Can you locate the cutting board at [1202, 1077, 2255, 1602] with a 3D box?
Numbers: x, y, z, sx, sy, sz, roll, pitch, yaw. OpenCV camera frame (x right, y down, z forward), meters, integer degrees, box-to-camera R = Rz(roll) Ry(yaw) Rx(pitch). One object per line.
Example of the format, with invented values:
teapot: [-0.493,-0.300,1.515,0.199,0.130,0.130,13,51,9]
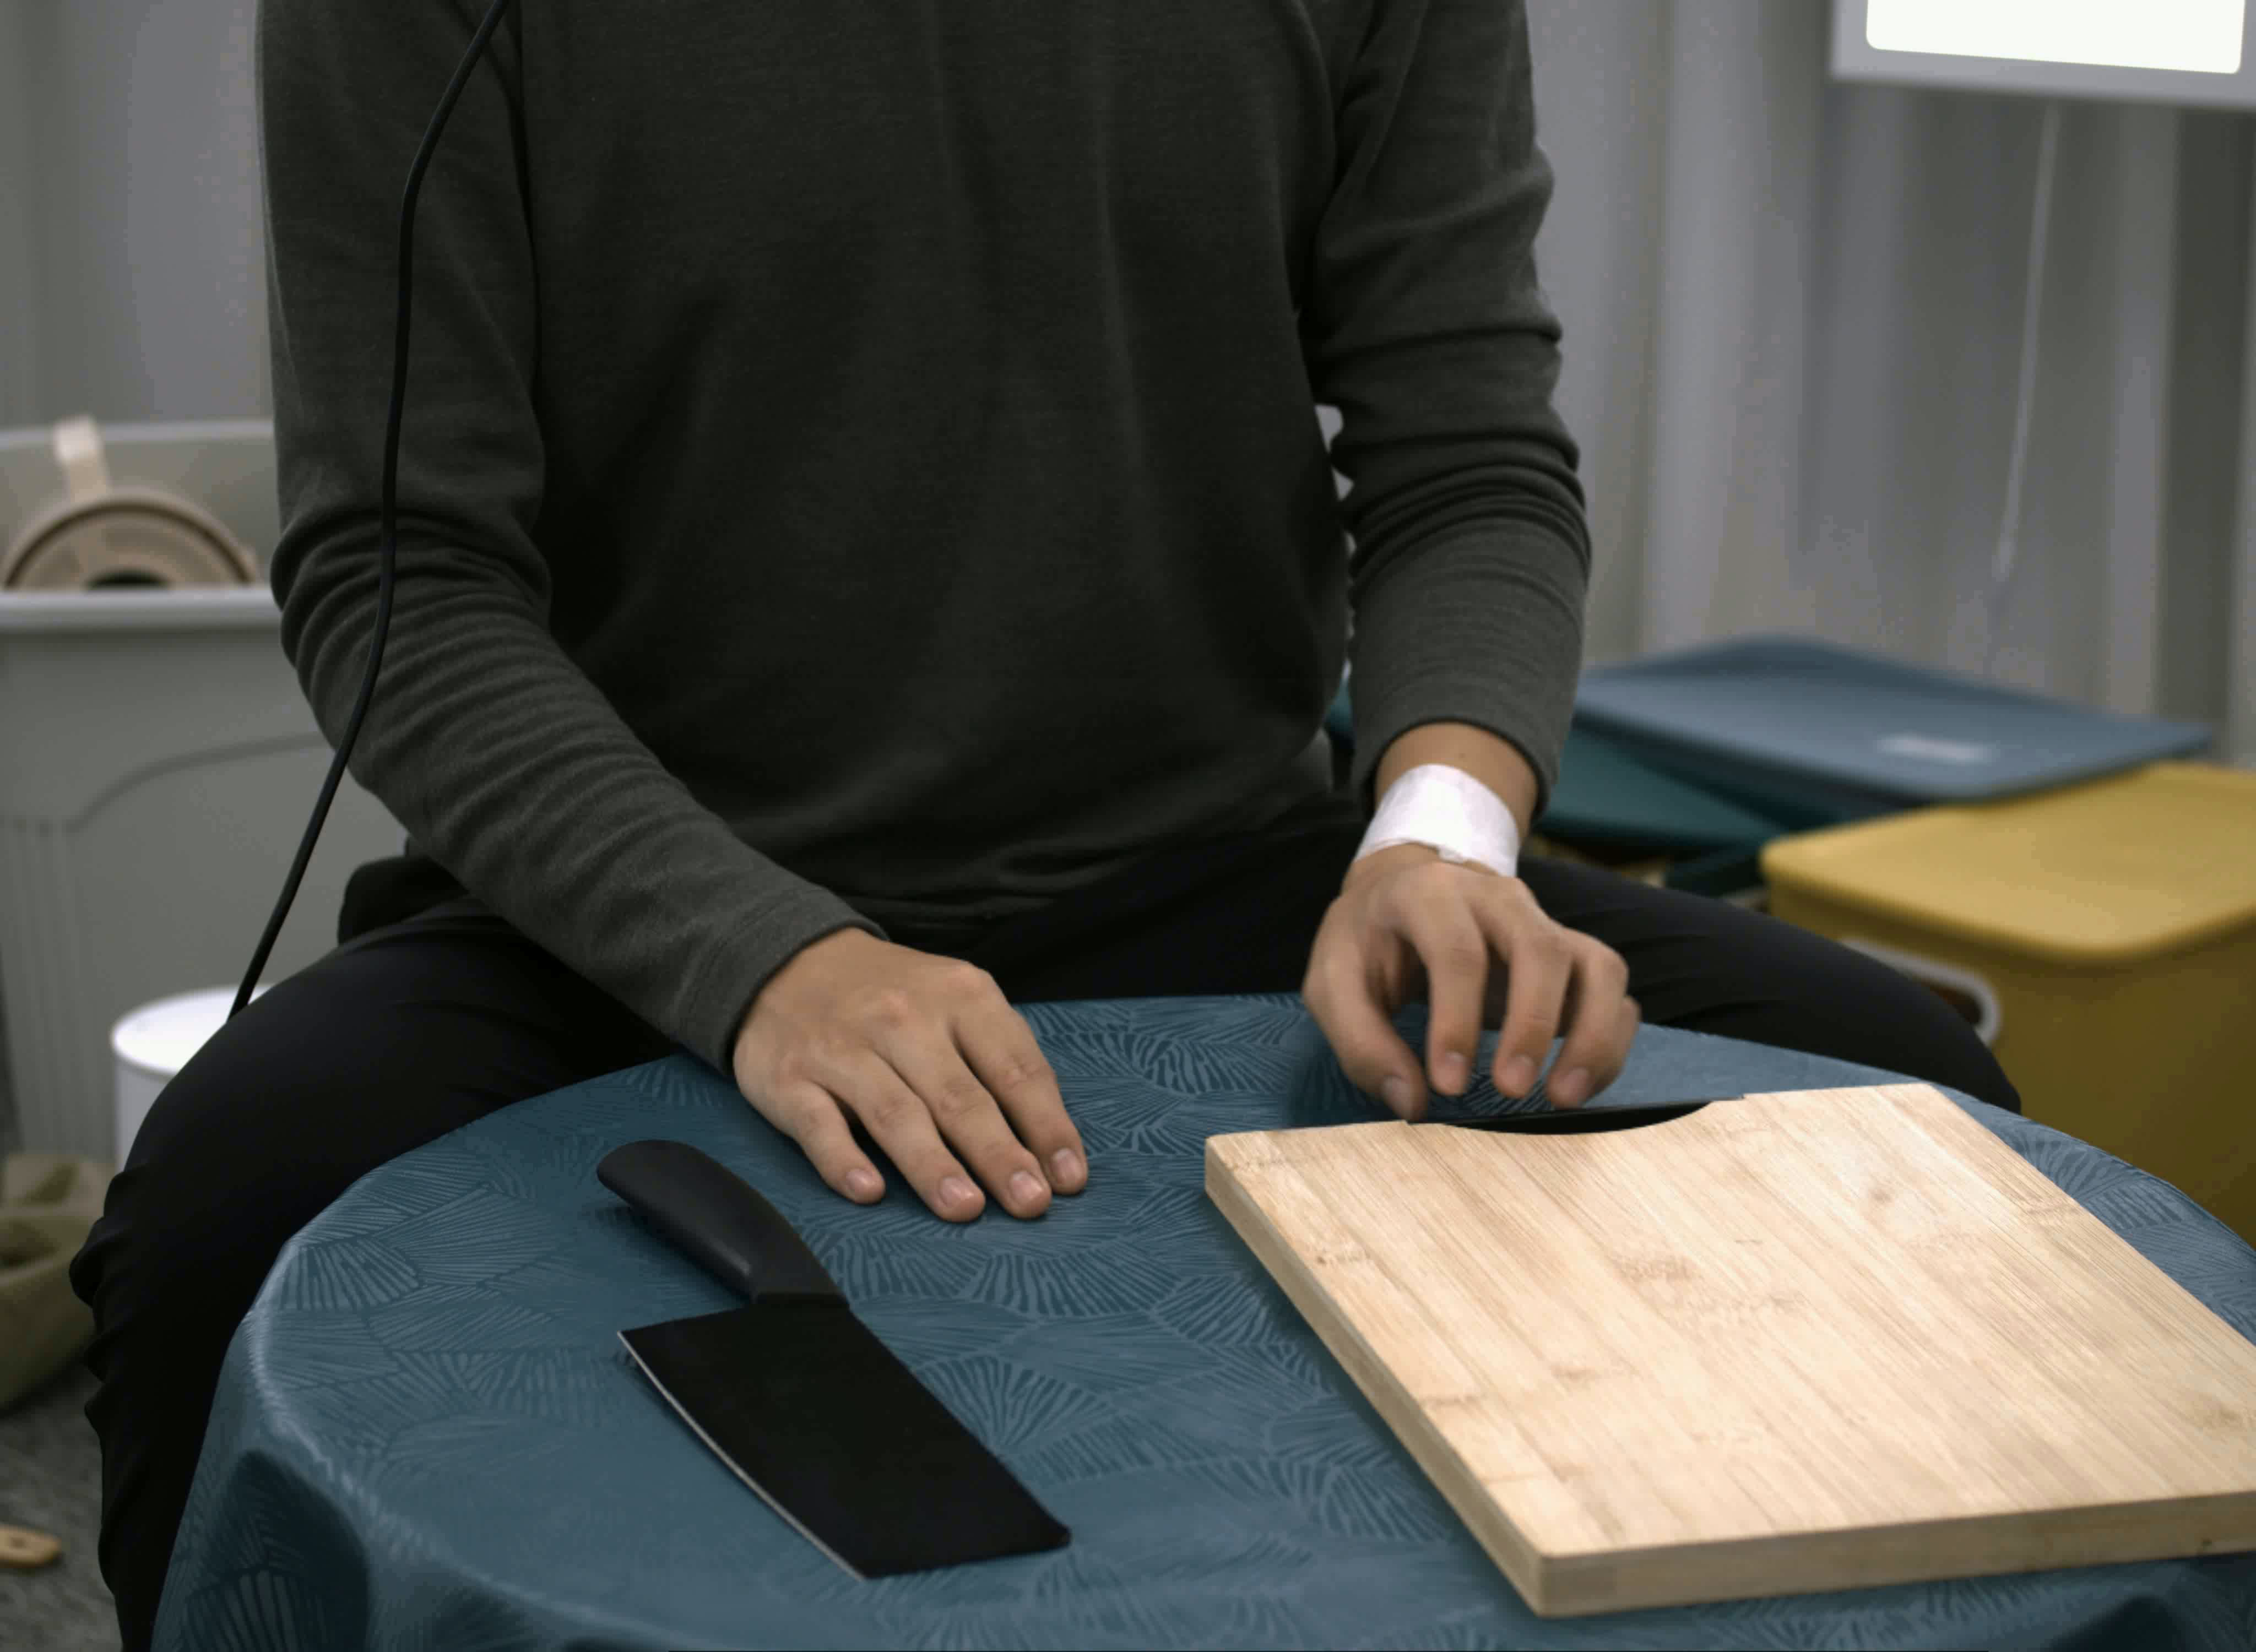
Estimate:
cutting board: [0.178,0.139,1.503,0.251,0.024,0.345,-3,16,-14]

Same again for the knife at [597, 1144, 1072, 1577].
knife: [-0.099,0.147,1.473,0.081,0.021,0.299,-6,18,-19]
